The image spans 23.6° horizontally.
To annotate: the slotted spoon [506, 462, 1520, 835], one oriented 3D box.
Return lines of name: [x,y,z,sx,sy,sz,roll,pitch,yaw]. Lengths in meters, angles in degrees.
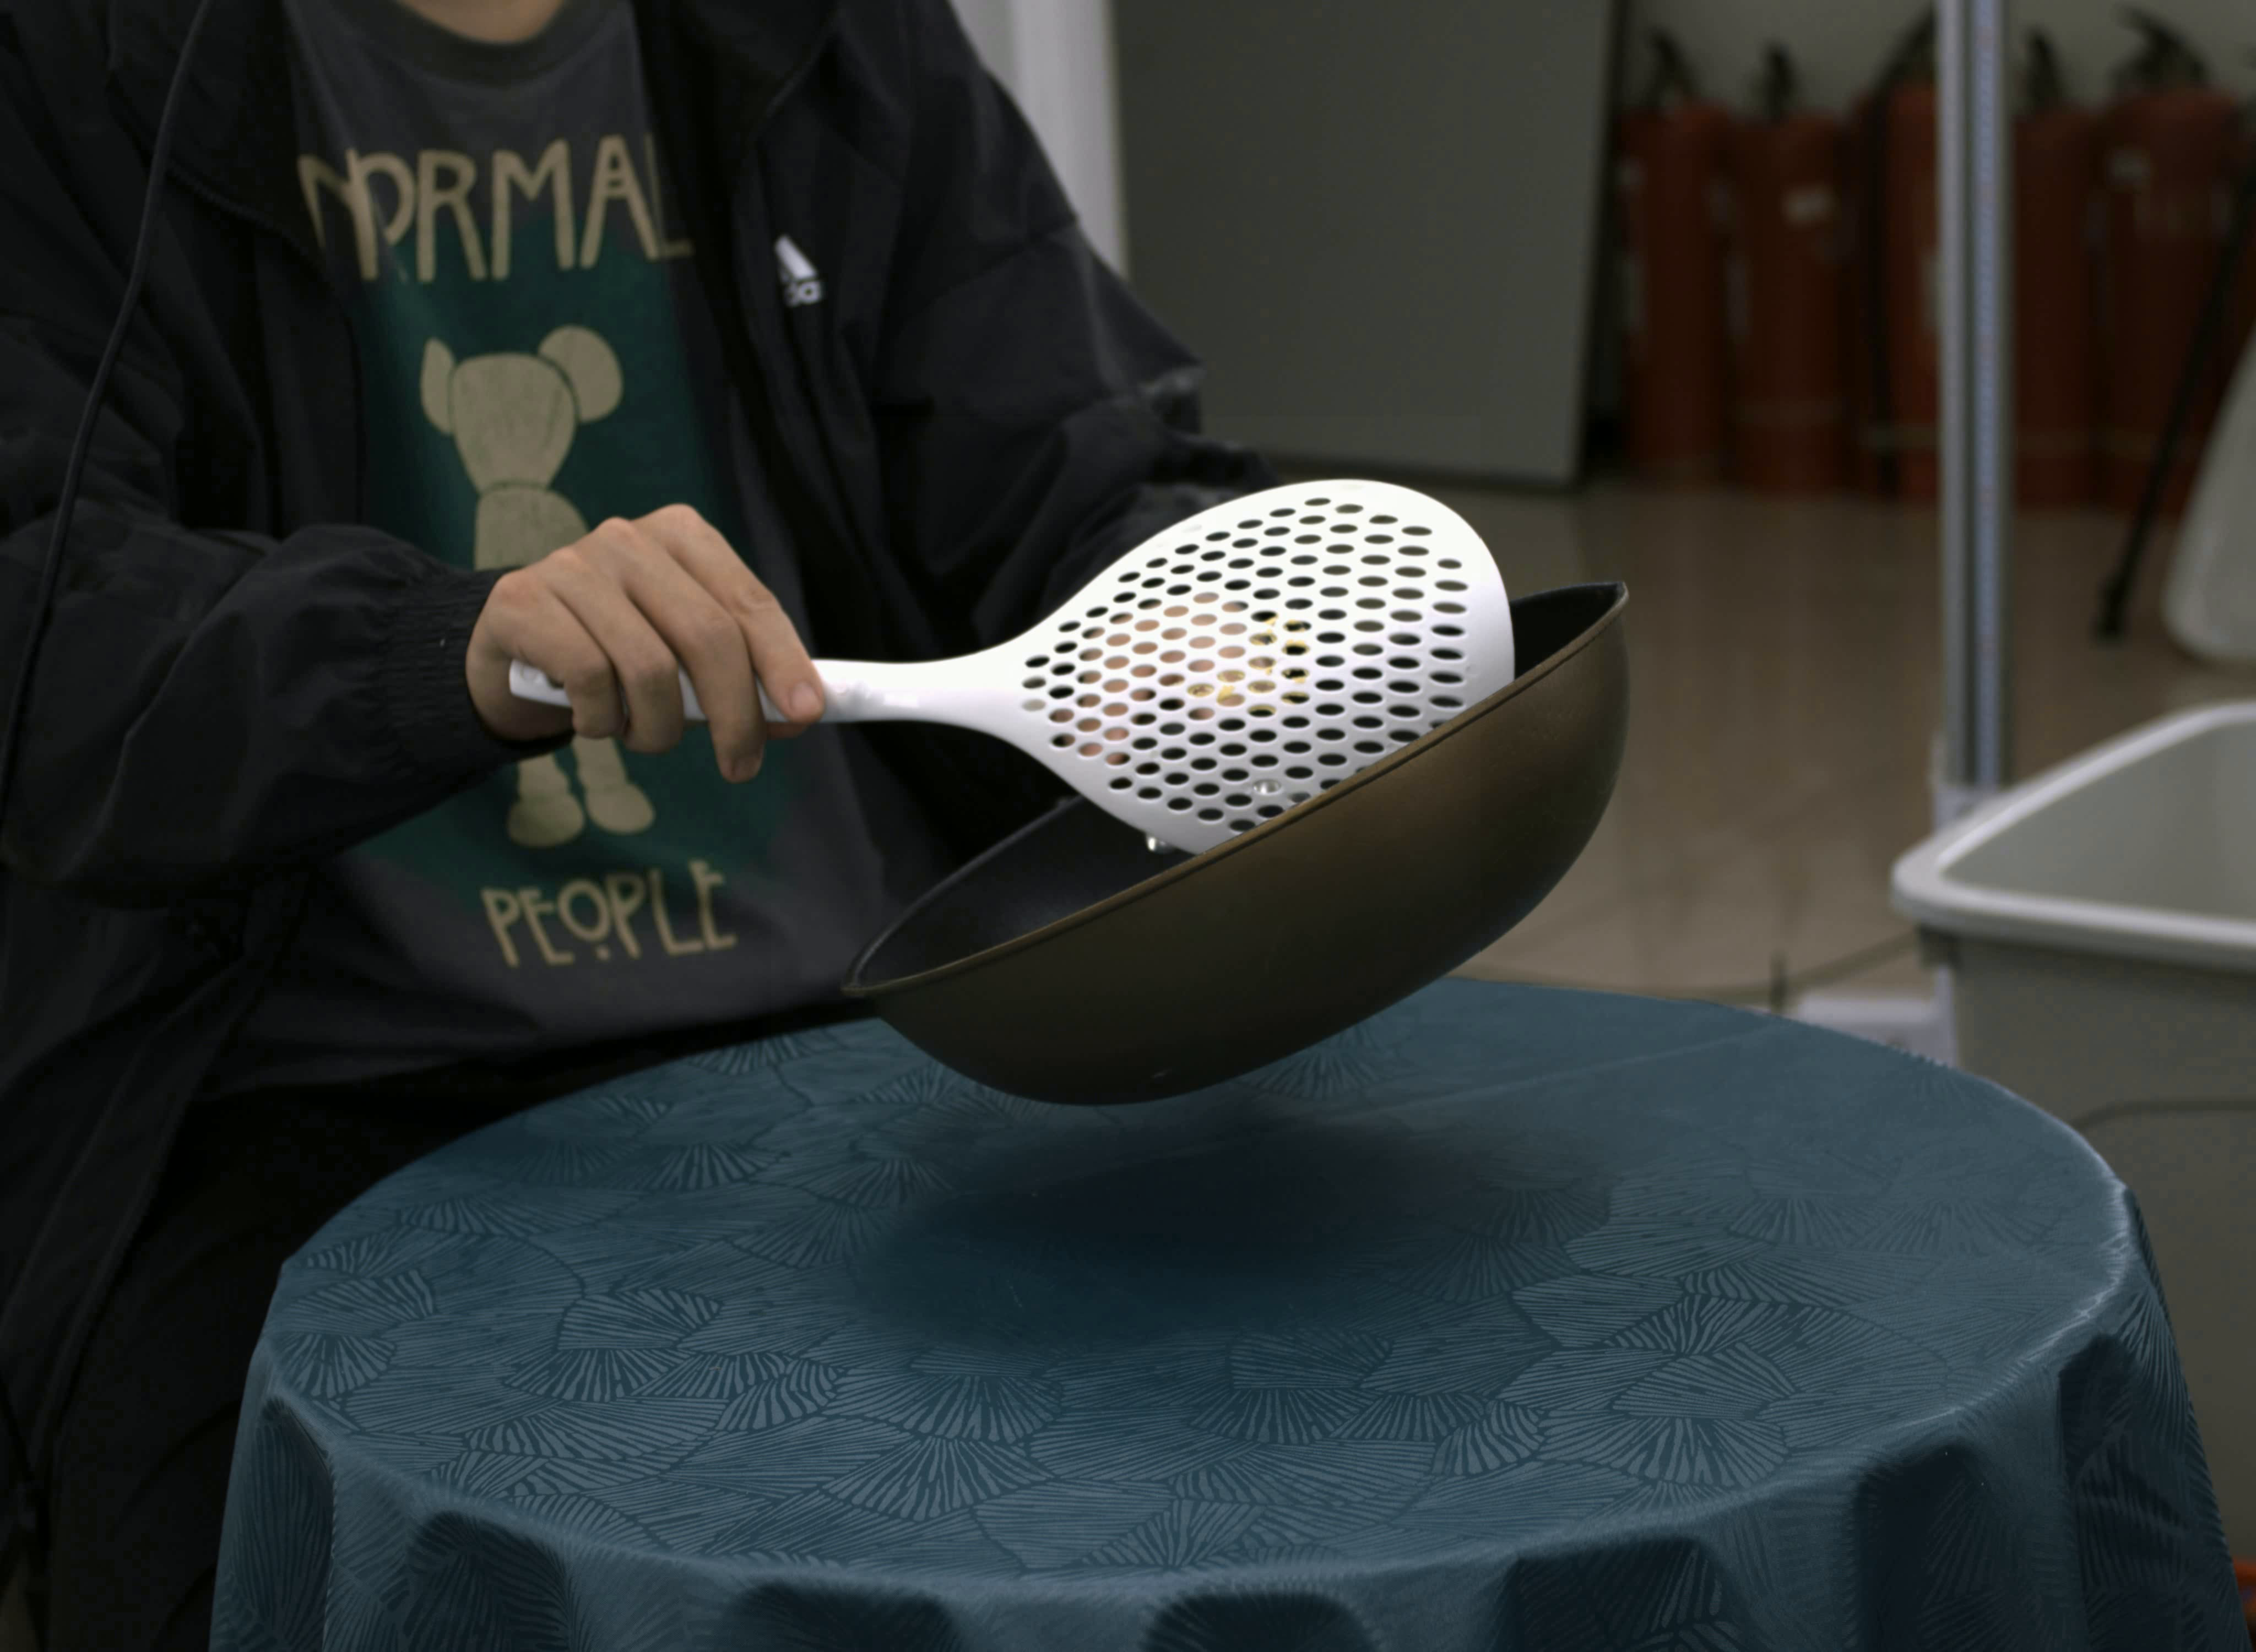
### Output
slotted spoon: [-0.041,-0.050,1.782,0.348,0.138,0.049,-2,-8,22]

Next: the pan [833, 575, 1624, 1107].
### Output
pan: [0.038,0.010,1.831,0.285,0.087,0.464,-28,6,-3]
